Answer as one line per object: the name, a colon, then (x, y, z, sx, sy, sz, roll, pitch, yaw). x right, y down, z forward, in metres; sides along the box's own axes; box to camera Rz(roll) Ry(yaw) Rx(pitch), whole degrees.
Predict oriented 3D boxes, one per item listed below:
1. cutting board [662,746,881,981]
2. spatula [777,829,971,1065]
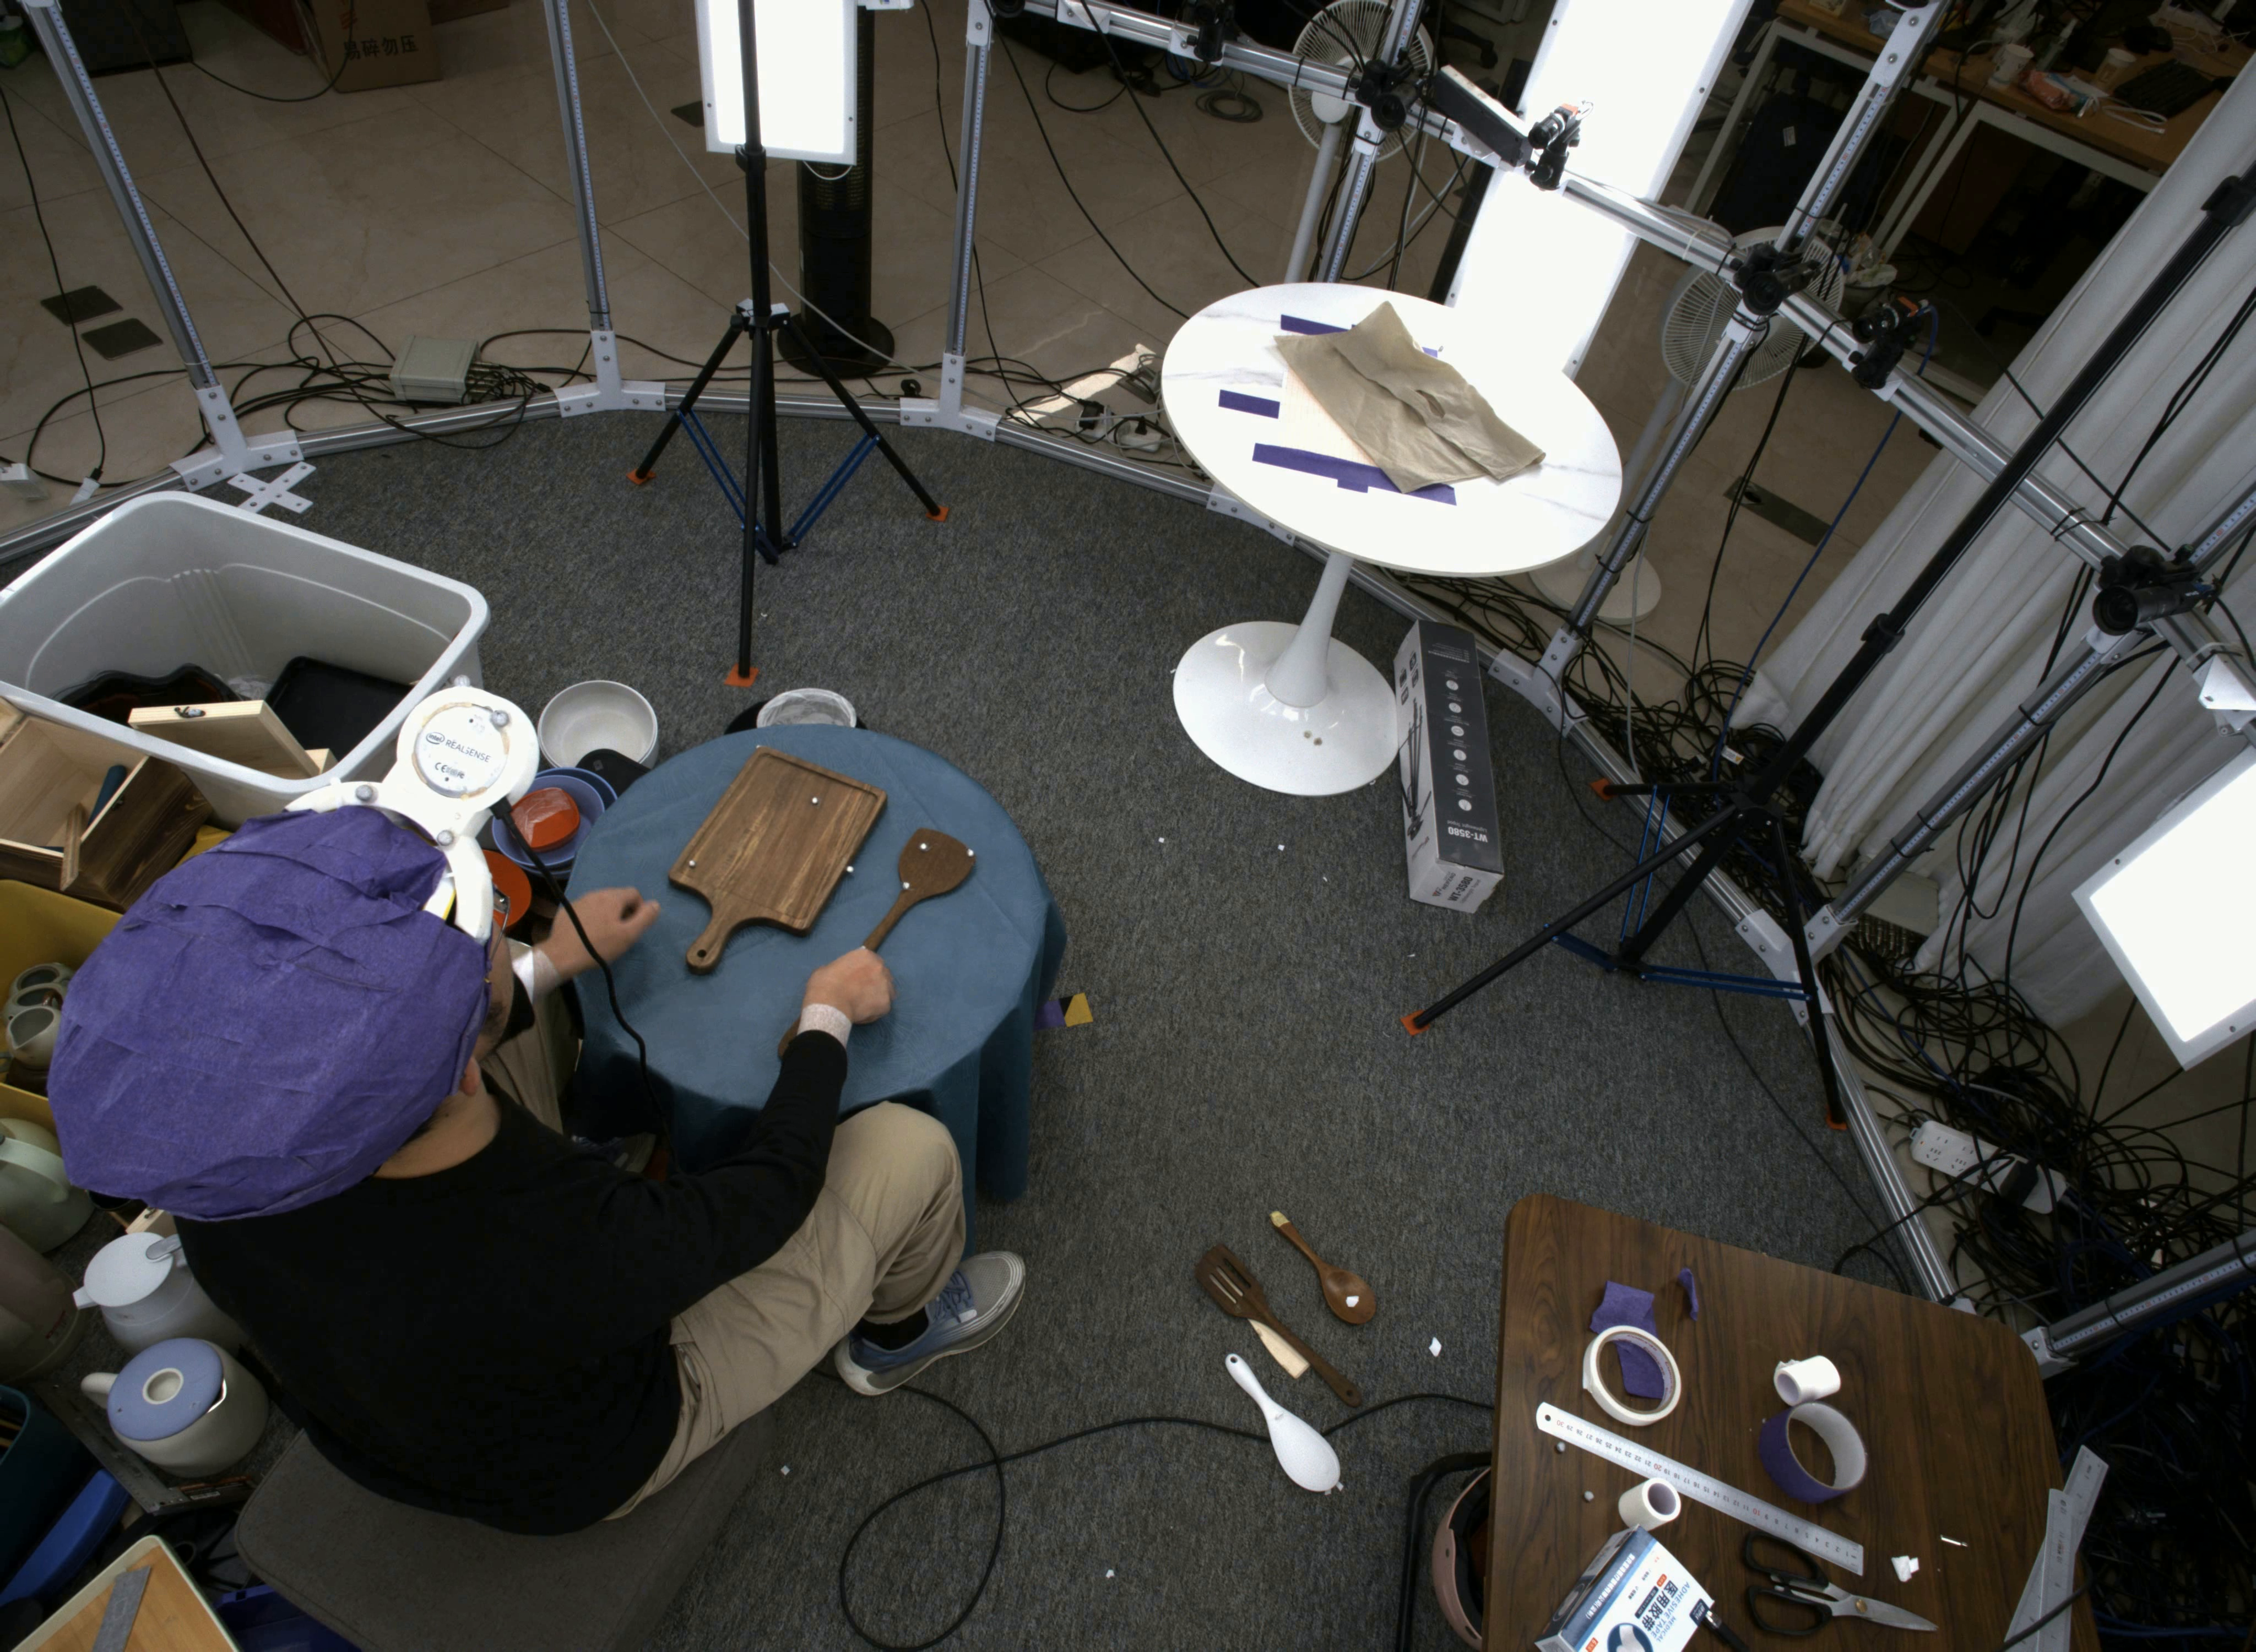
cutting board: (-0.474, 0.049, 1.655, 0.199, 0.023, 0.348, 21, 51, 1)
spatula: (-0.324, 0.144, 1.627, 0.095, 0.016, 0.384, 27, 52, 7)
